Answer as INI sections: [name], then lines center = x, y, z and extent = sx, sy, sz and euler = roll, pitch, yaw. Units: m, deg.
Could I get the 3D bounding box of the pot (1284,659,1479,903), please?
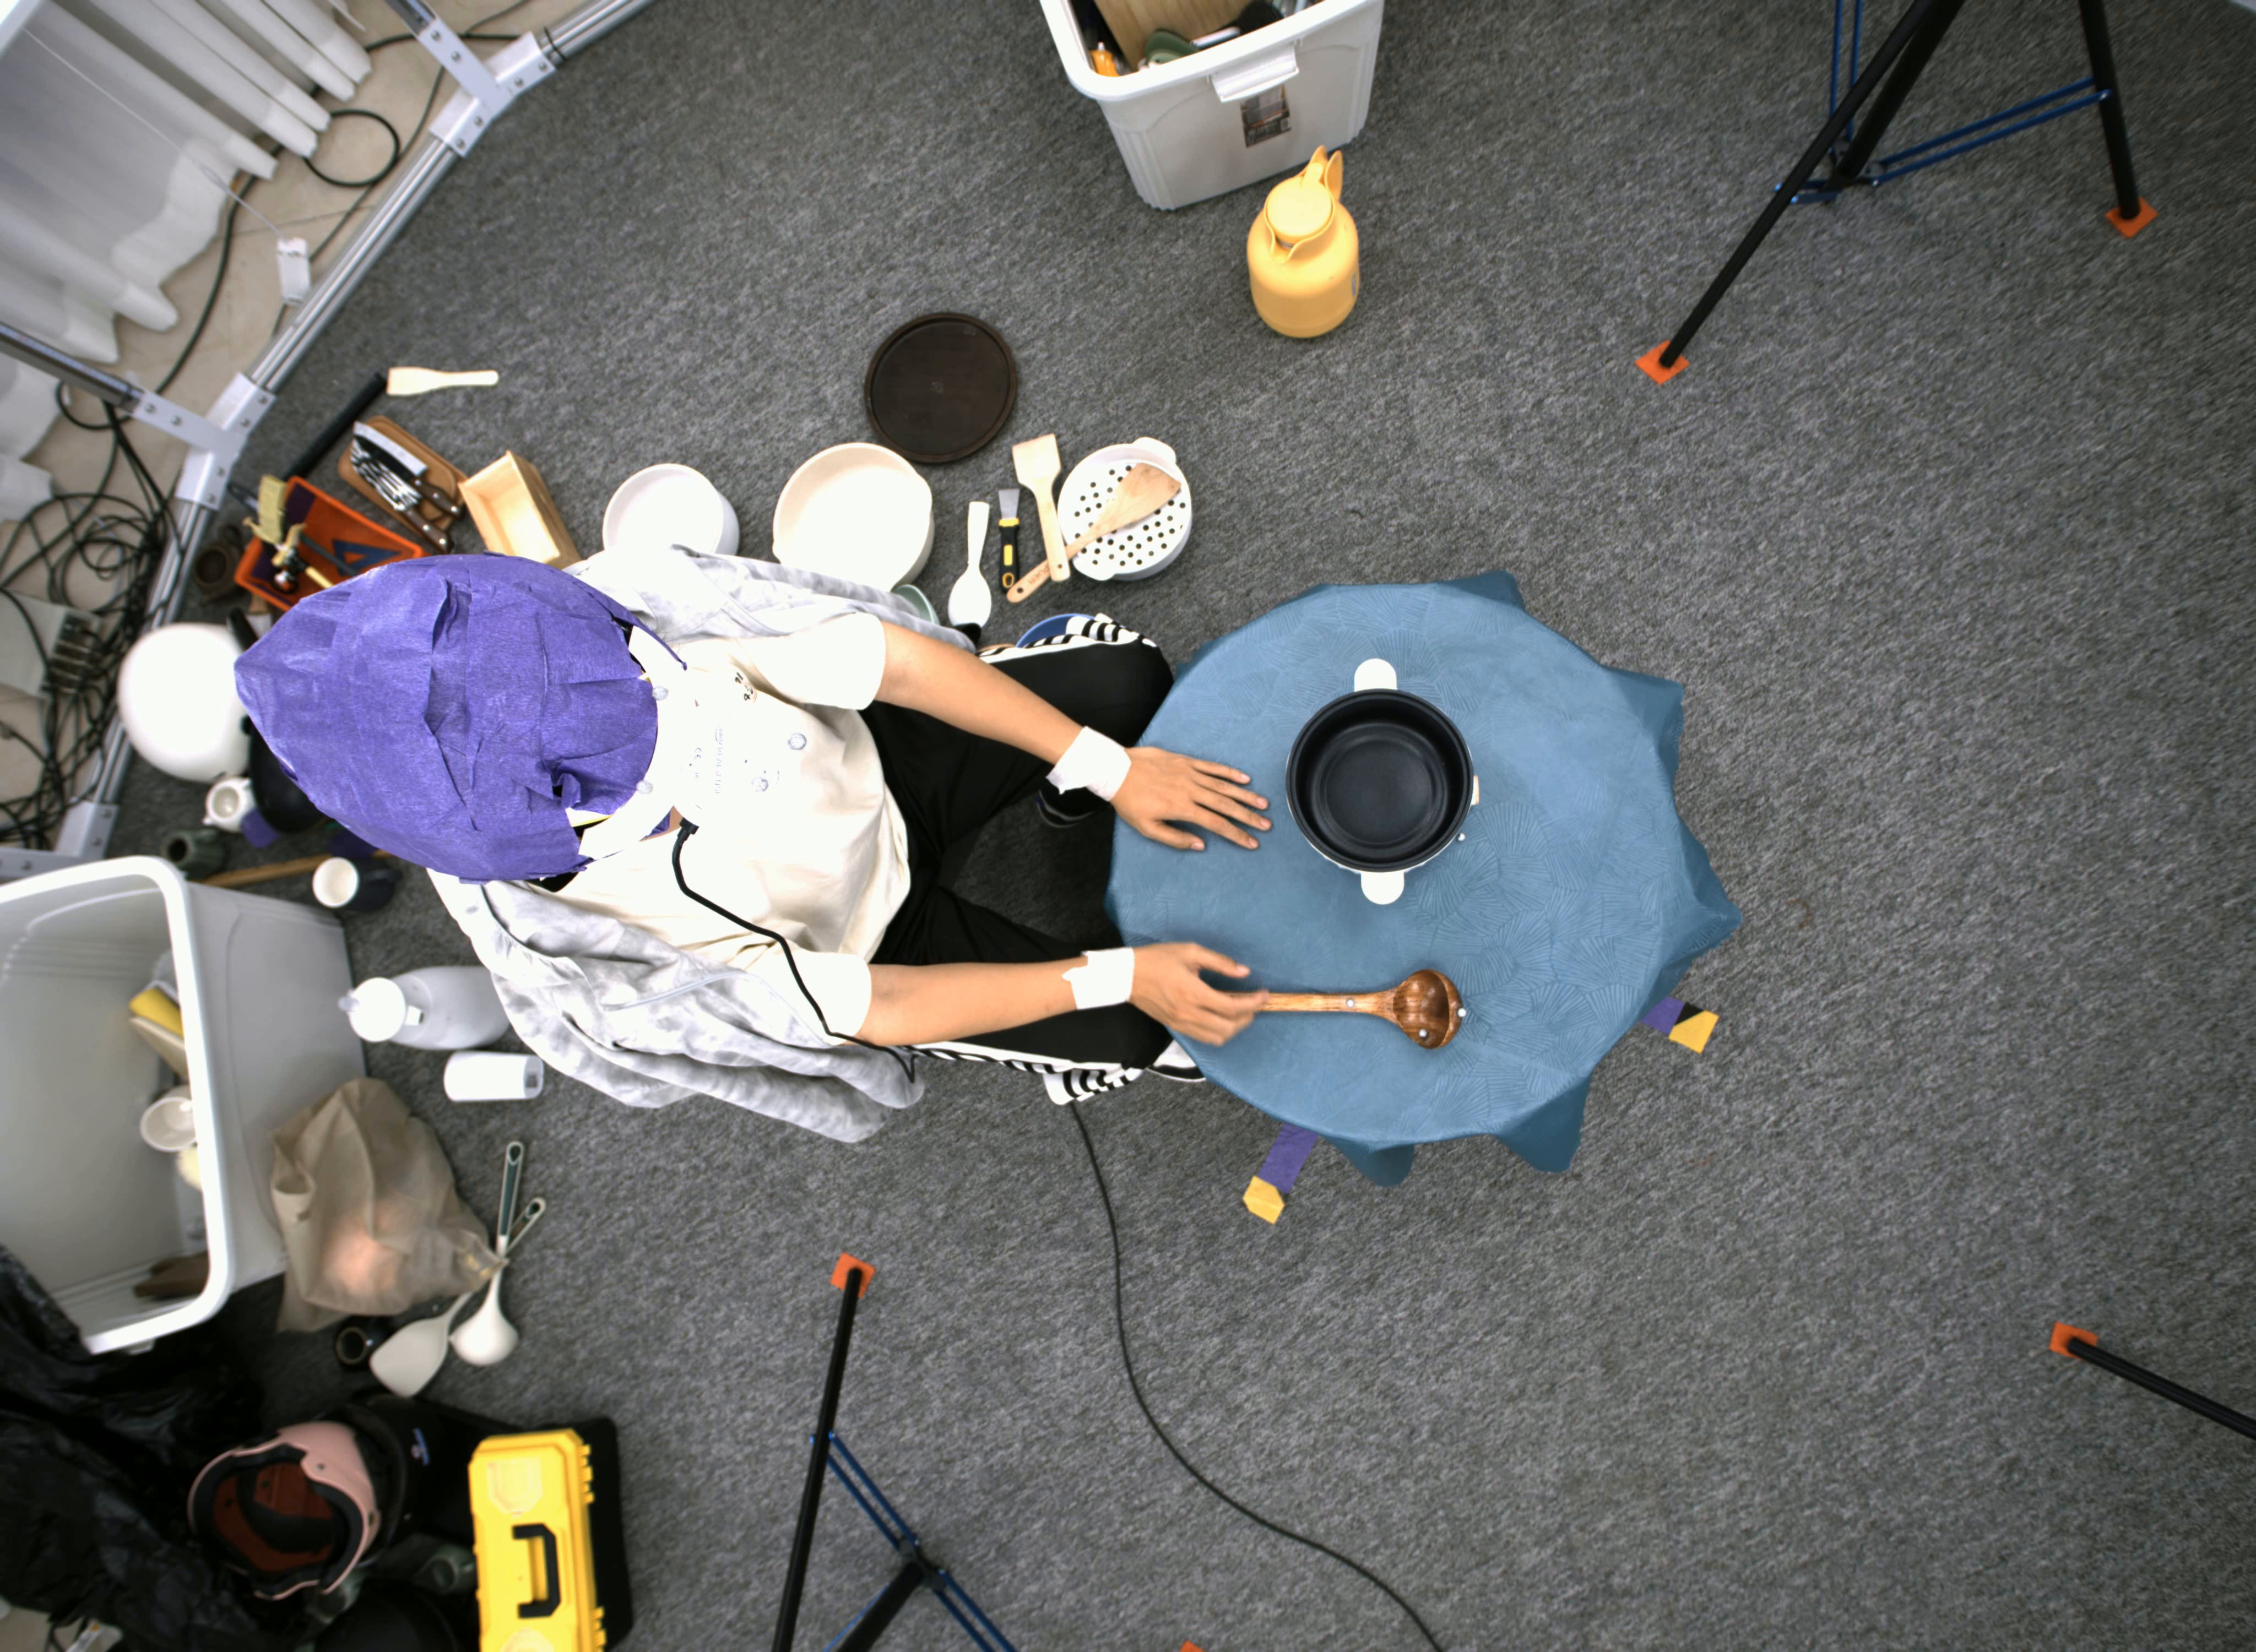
[pot]
center = 0.259, -0.041, 1.396
extent = 0.191, 0.142, 0.239
euler = -3, 87, 13

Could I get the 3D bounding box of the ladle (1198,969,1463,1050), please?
[ladle]
center = 0.204, 0.182, 1.426
extent = 0.275, 0.076, 0.082
euler = 2, 89, 10
